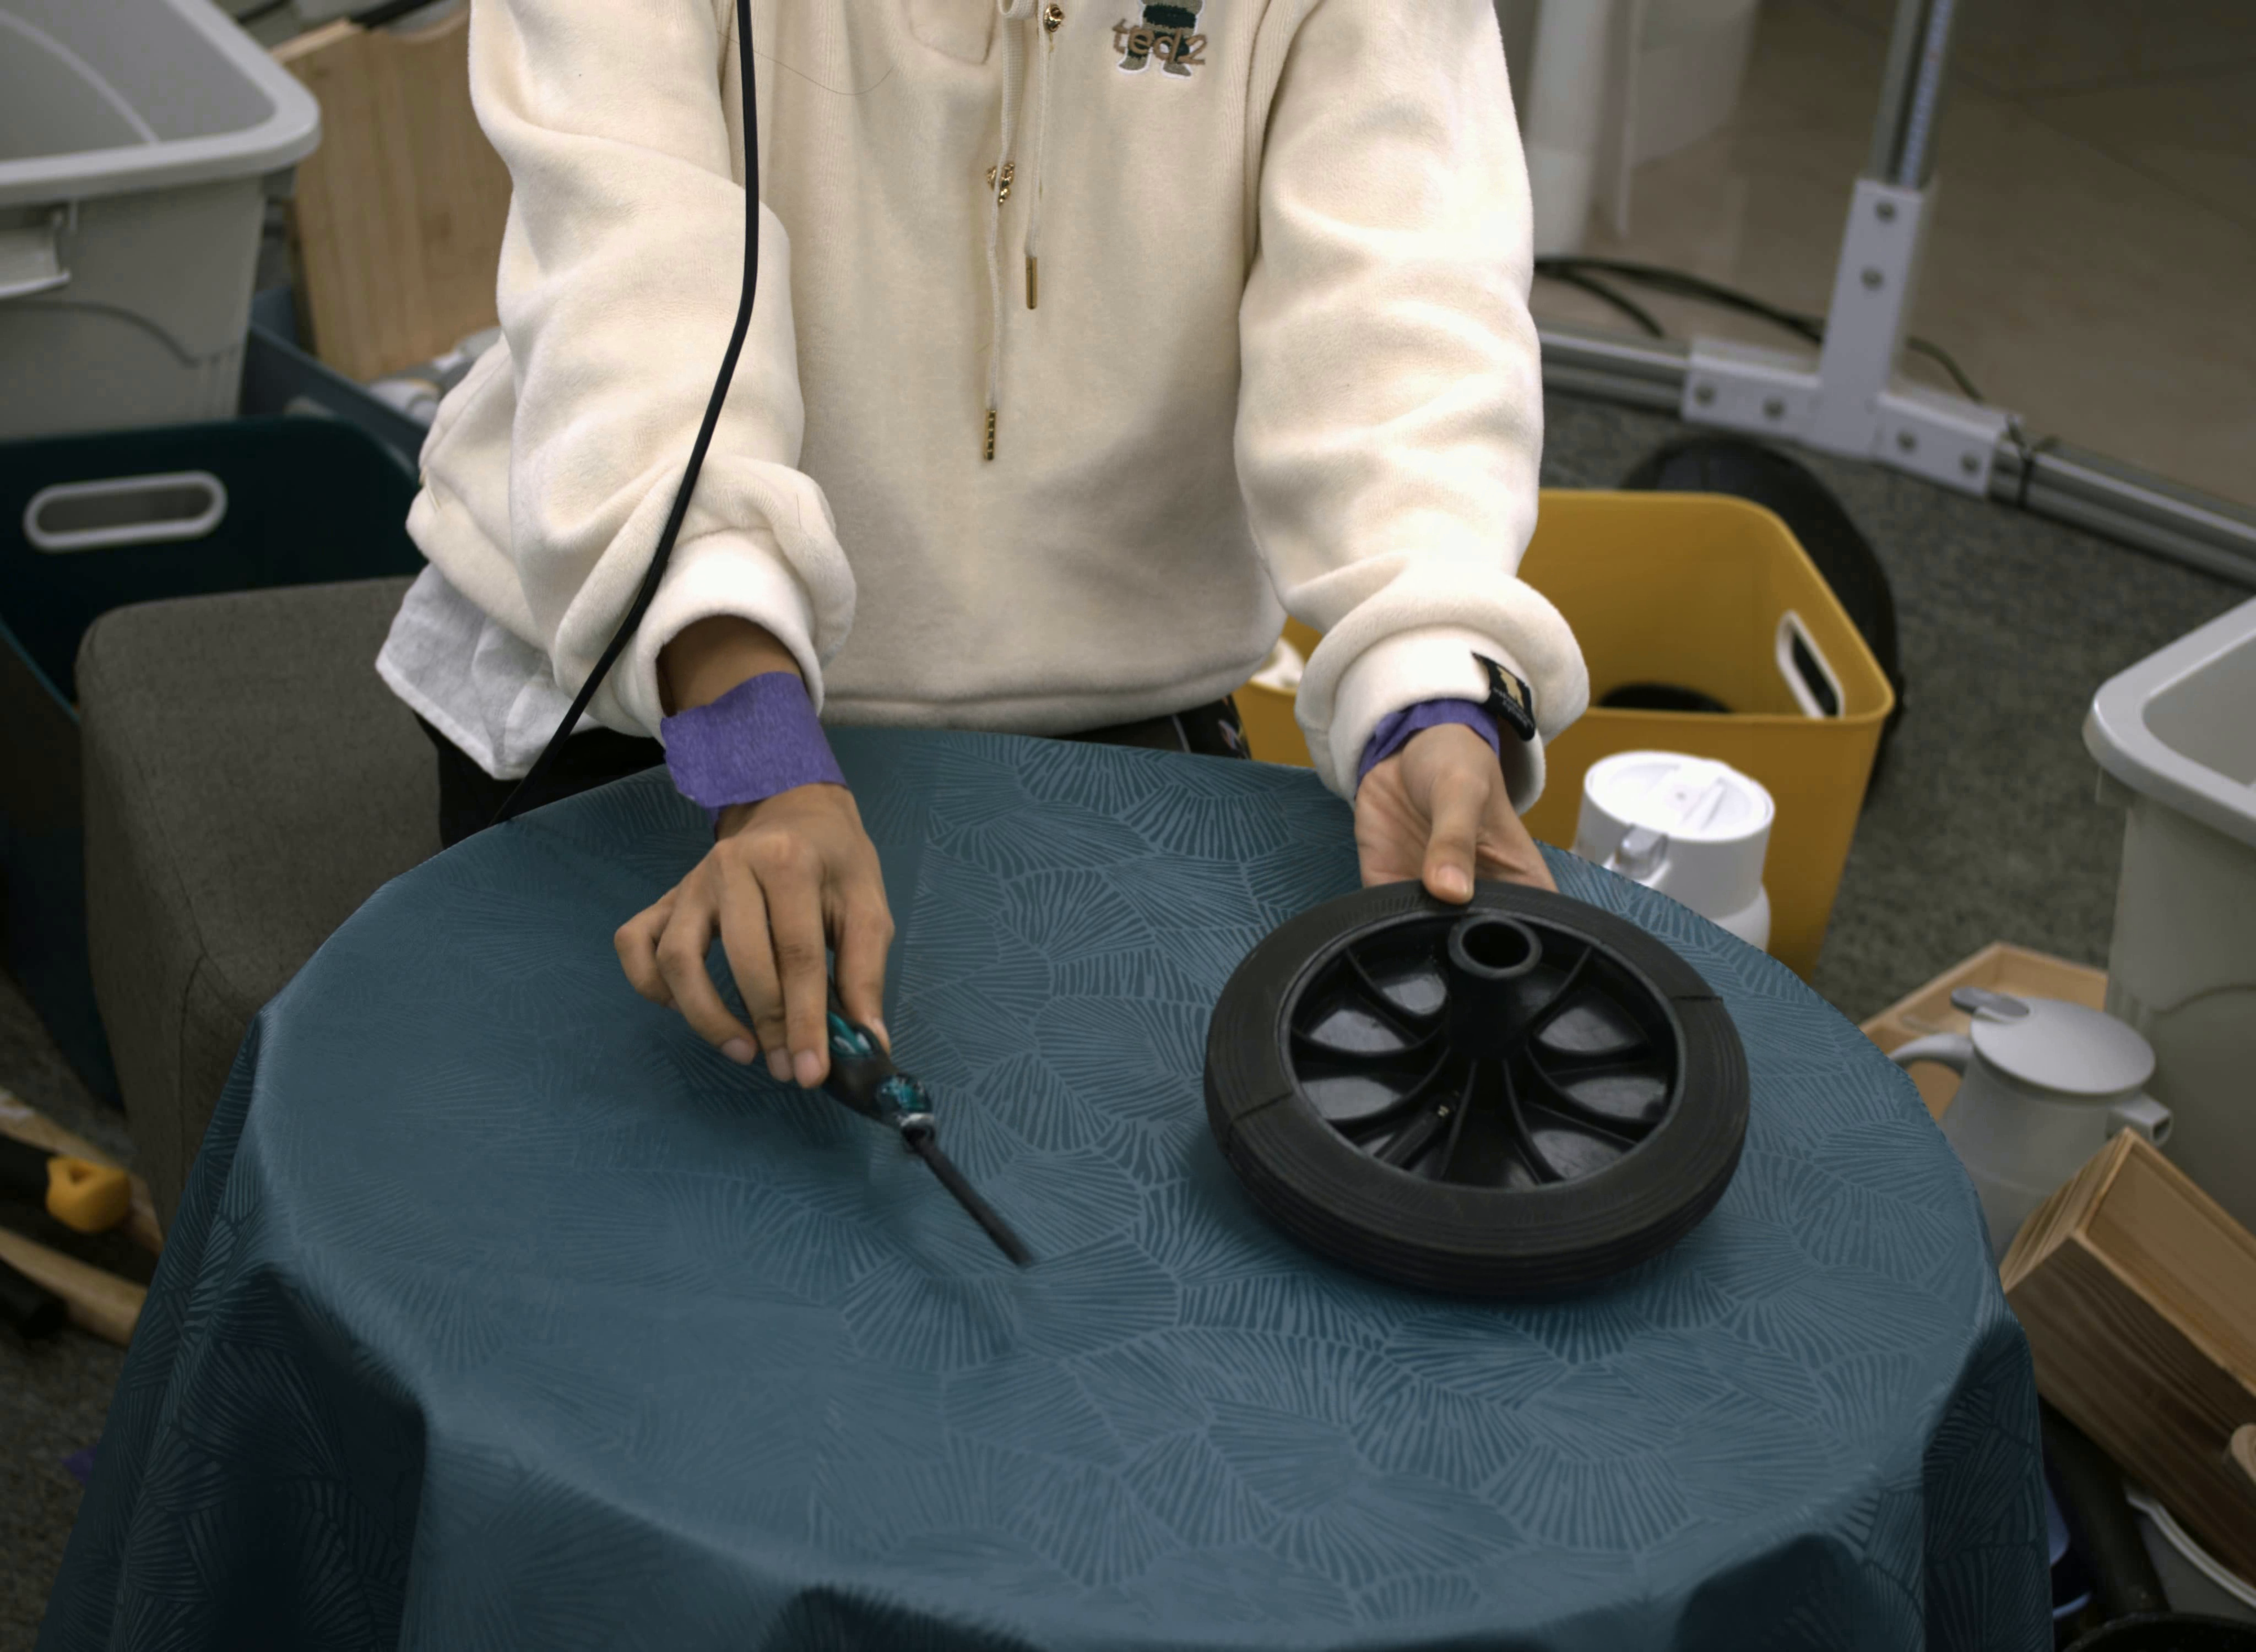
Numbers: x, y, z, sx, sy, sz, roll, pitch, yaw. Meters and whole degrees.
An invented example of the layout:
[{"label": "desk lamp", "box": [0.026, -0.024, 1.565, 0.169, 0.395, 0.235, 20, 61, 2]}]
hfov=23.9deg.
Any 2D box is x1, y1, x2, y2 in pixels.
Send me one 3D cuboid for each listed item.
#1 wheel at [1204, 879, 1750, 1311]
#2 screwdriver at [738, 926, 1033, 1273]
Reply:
[{"label": "wheel", "box": [0.120, 0.074, 1.808, 0.187, 0.079, 0.191, 11, 44, 9]}, {"label": "screwdriver", "box": [-0.079, 0.093, 1.777, 0.033, 0.033, 0.192, -9, 36, -30]}]
